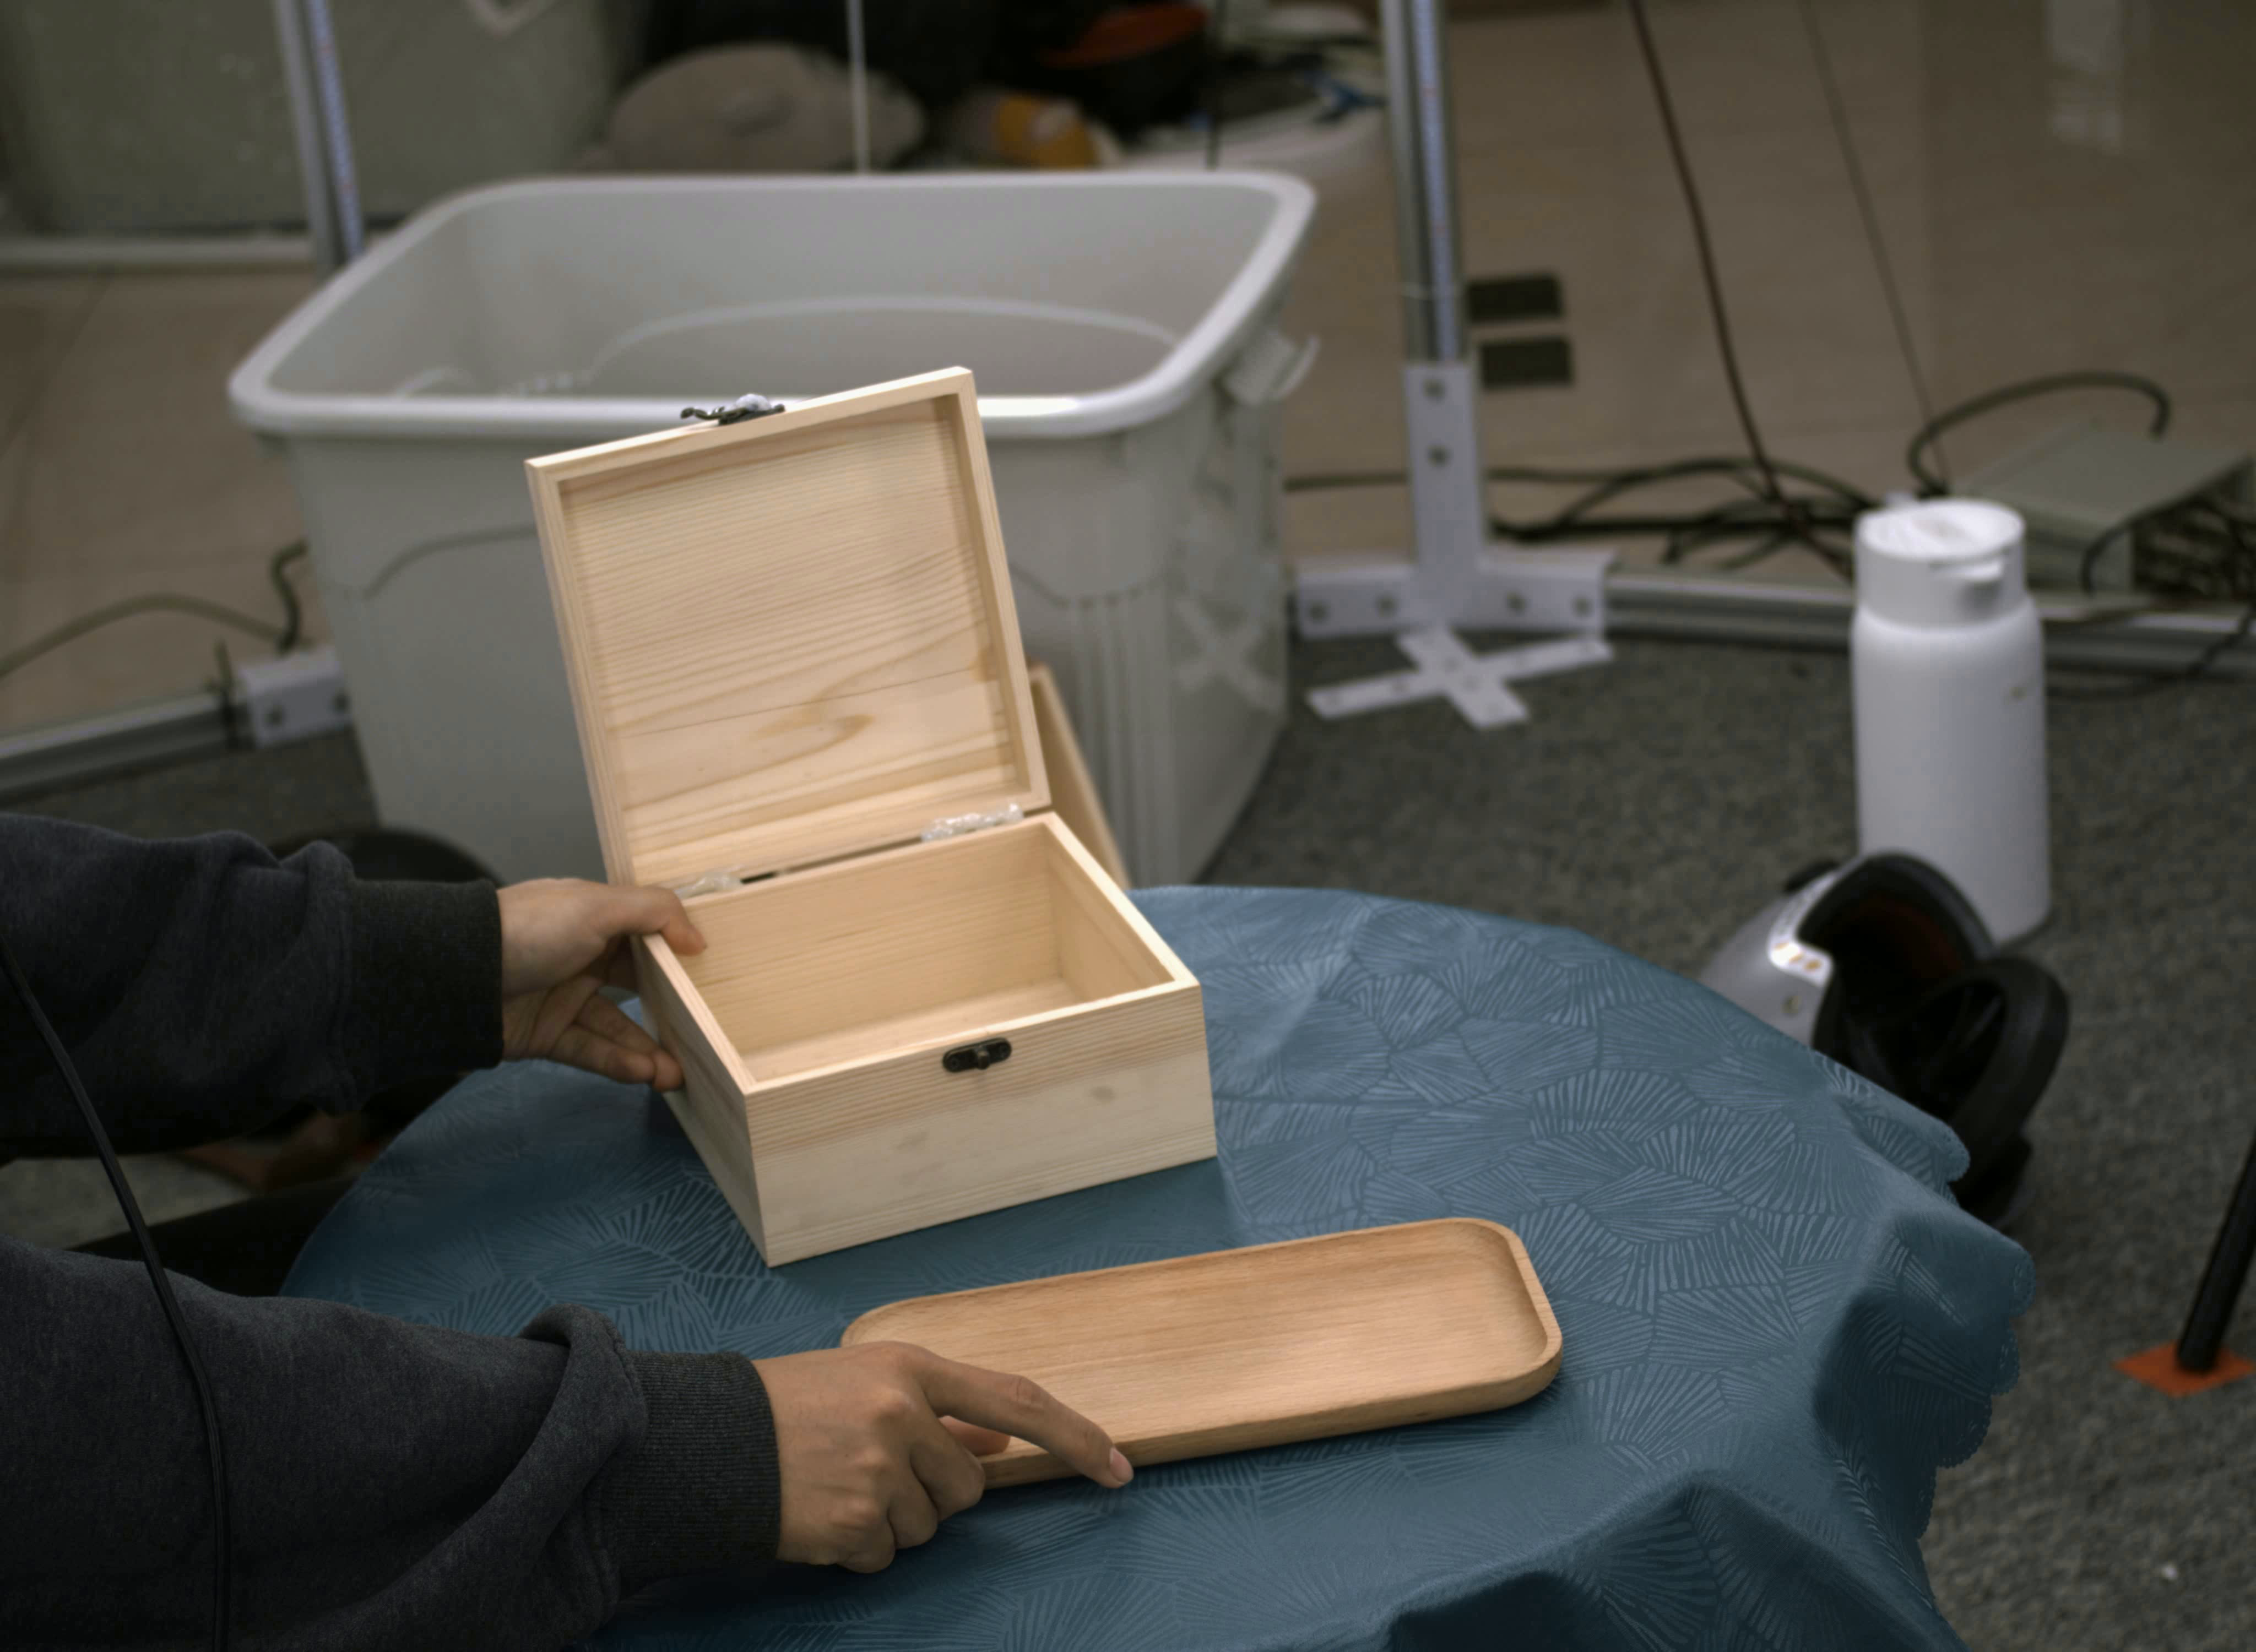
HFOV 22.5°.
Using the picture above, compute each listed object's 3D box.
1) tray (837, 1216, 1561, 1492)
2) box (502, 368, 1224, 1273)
[{"bbox_3d":[0.024,0.187,2.013,0.250,0.023,0.129,-9,21,-4],"label":"tray"},{"bbox_3d":[-0.105,-0.009,2.196,0.181,0.257,0.262,-16,26,-14],"label":"box"}]
